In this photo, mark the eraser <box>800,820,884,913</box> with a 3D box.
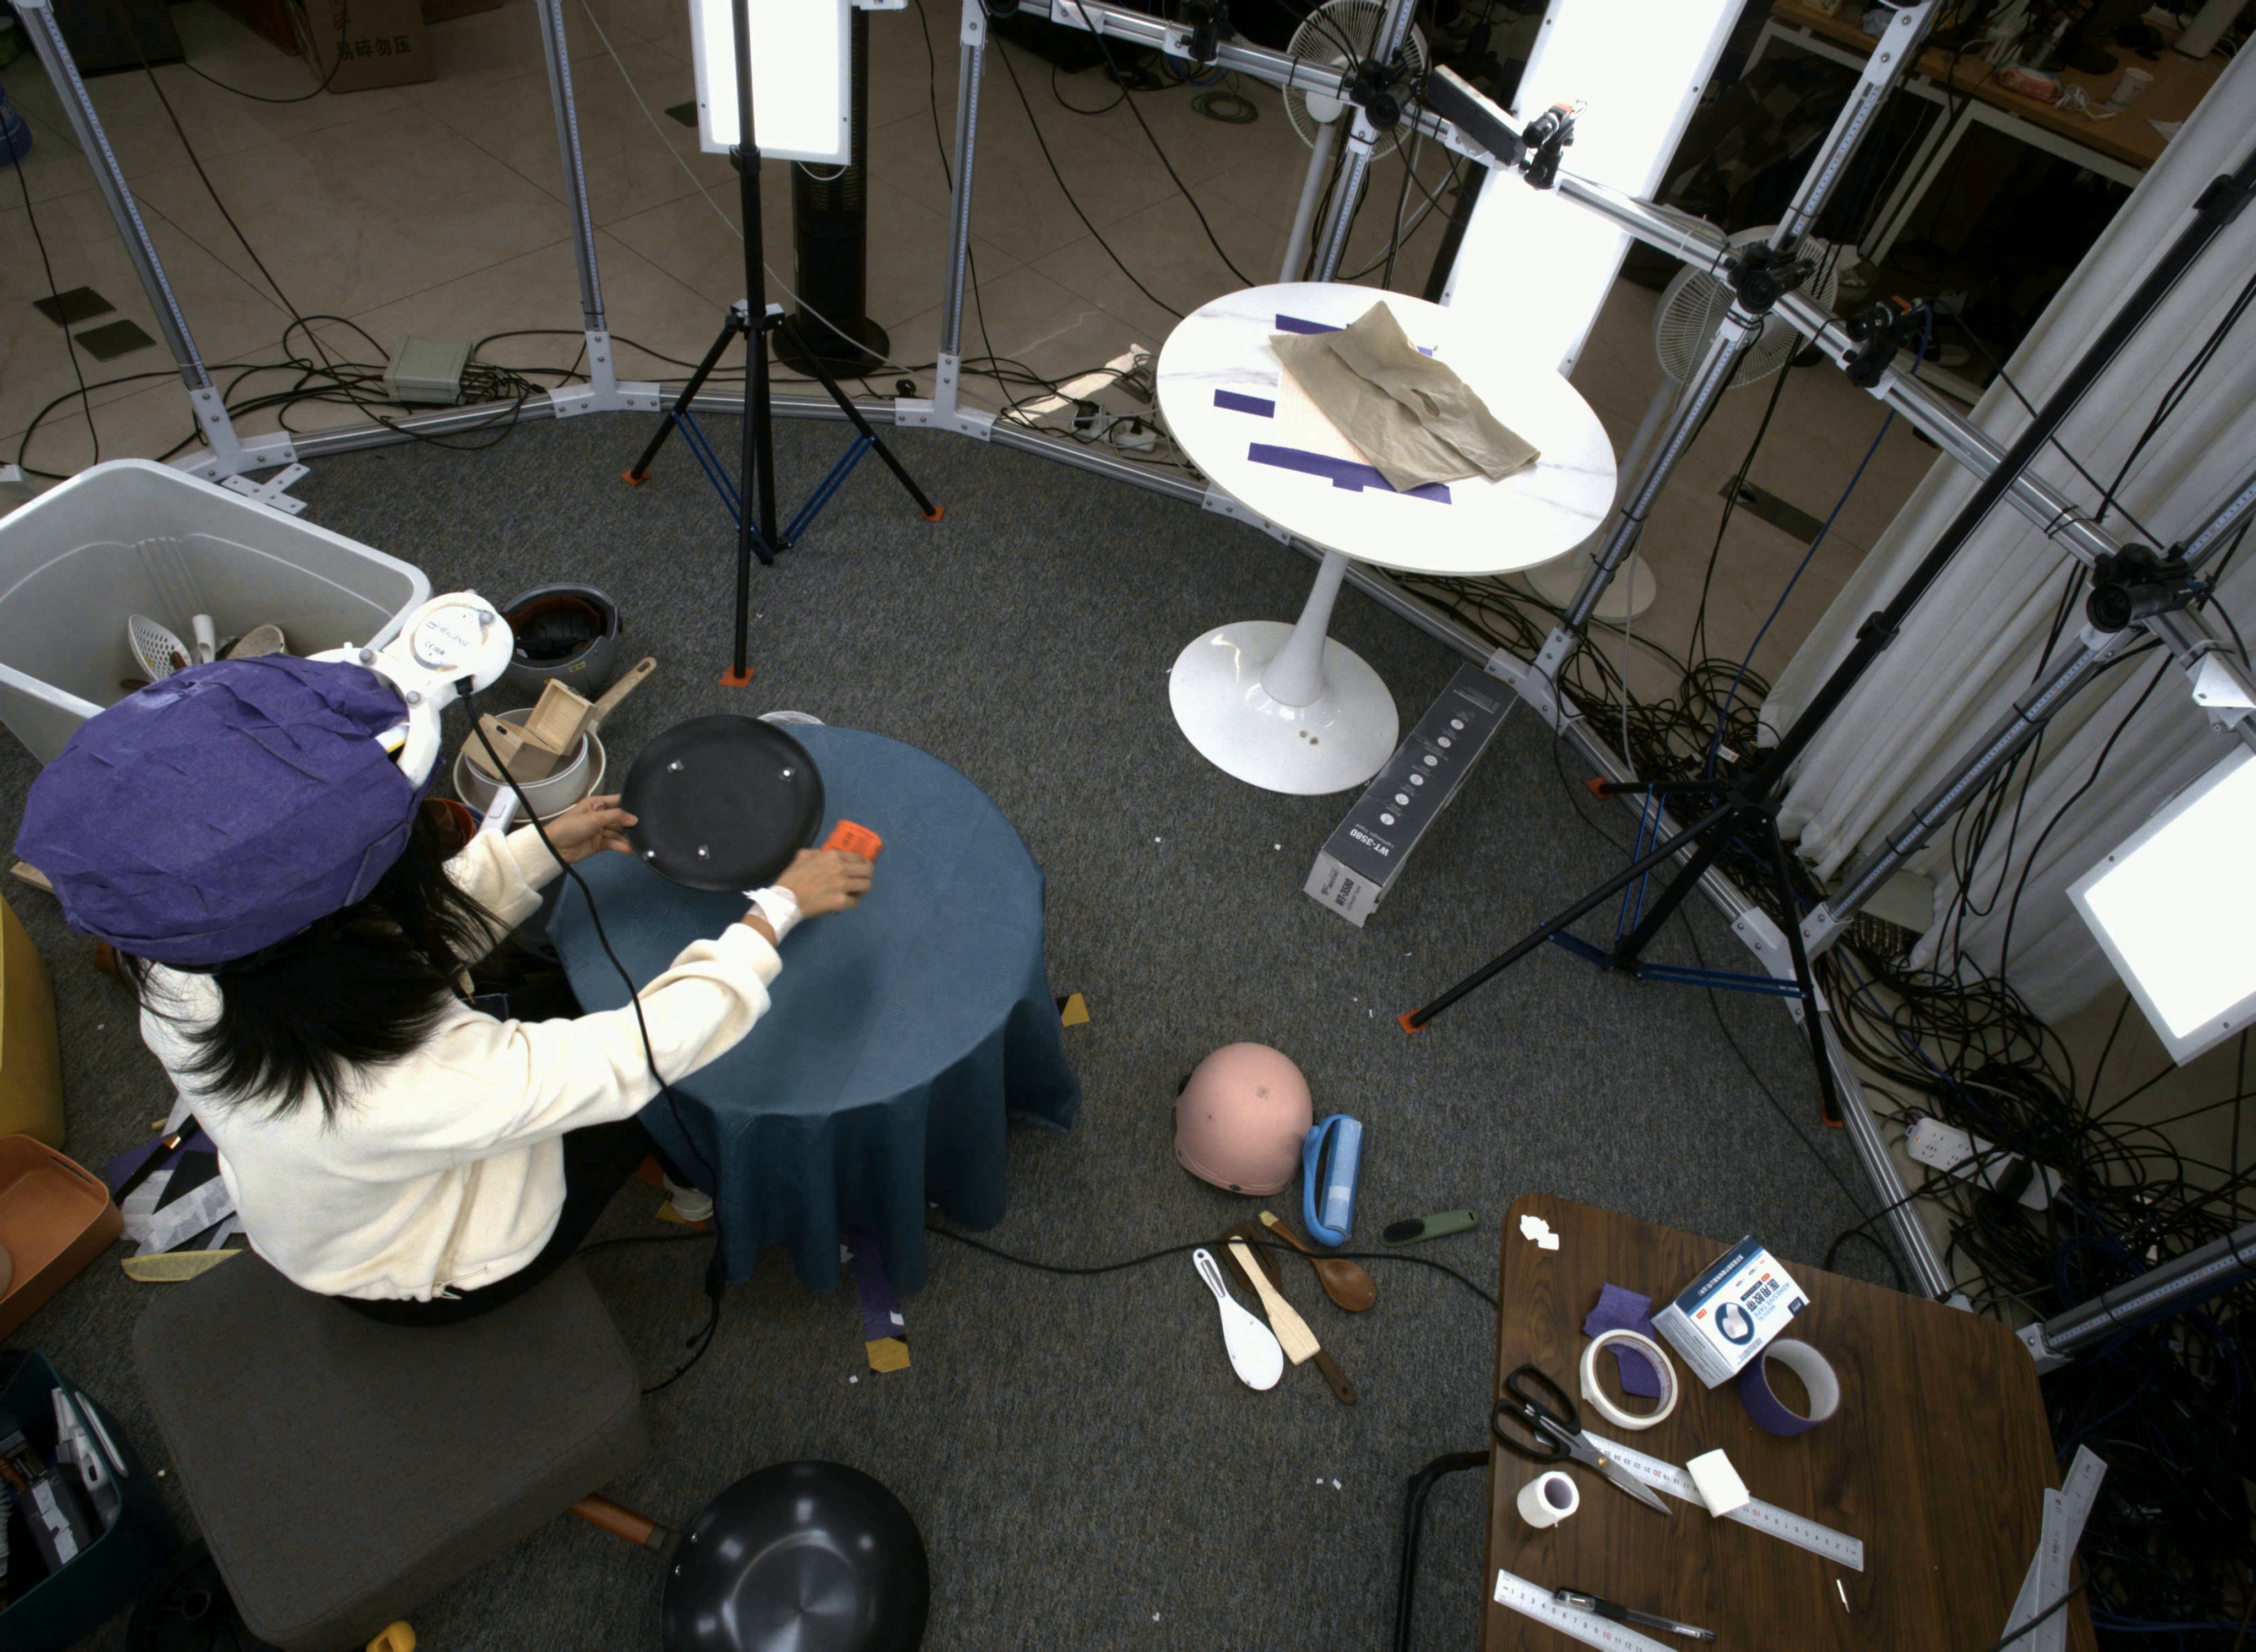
[{"bbox_3d":[-0.338,0.046,1.536,0.058,0.023,0.107,26,60,7],"label":"eraser"}]

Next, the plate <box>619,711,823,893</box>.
[{"bbox_3d":[-0.495,-0.030,1.570,0.244,0.023,0.242,6,65,-12],"label":"plate"}]
